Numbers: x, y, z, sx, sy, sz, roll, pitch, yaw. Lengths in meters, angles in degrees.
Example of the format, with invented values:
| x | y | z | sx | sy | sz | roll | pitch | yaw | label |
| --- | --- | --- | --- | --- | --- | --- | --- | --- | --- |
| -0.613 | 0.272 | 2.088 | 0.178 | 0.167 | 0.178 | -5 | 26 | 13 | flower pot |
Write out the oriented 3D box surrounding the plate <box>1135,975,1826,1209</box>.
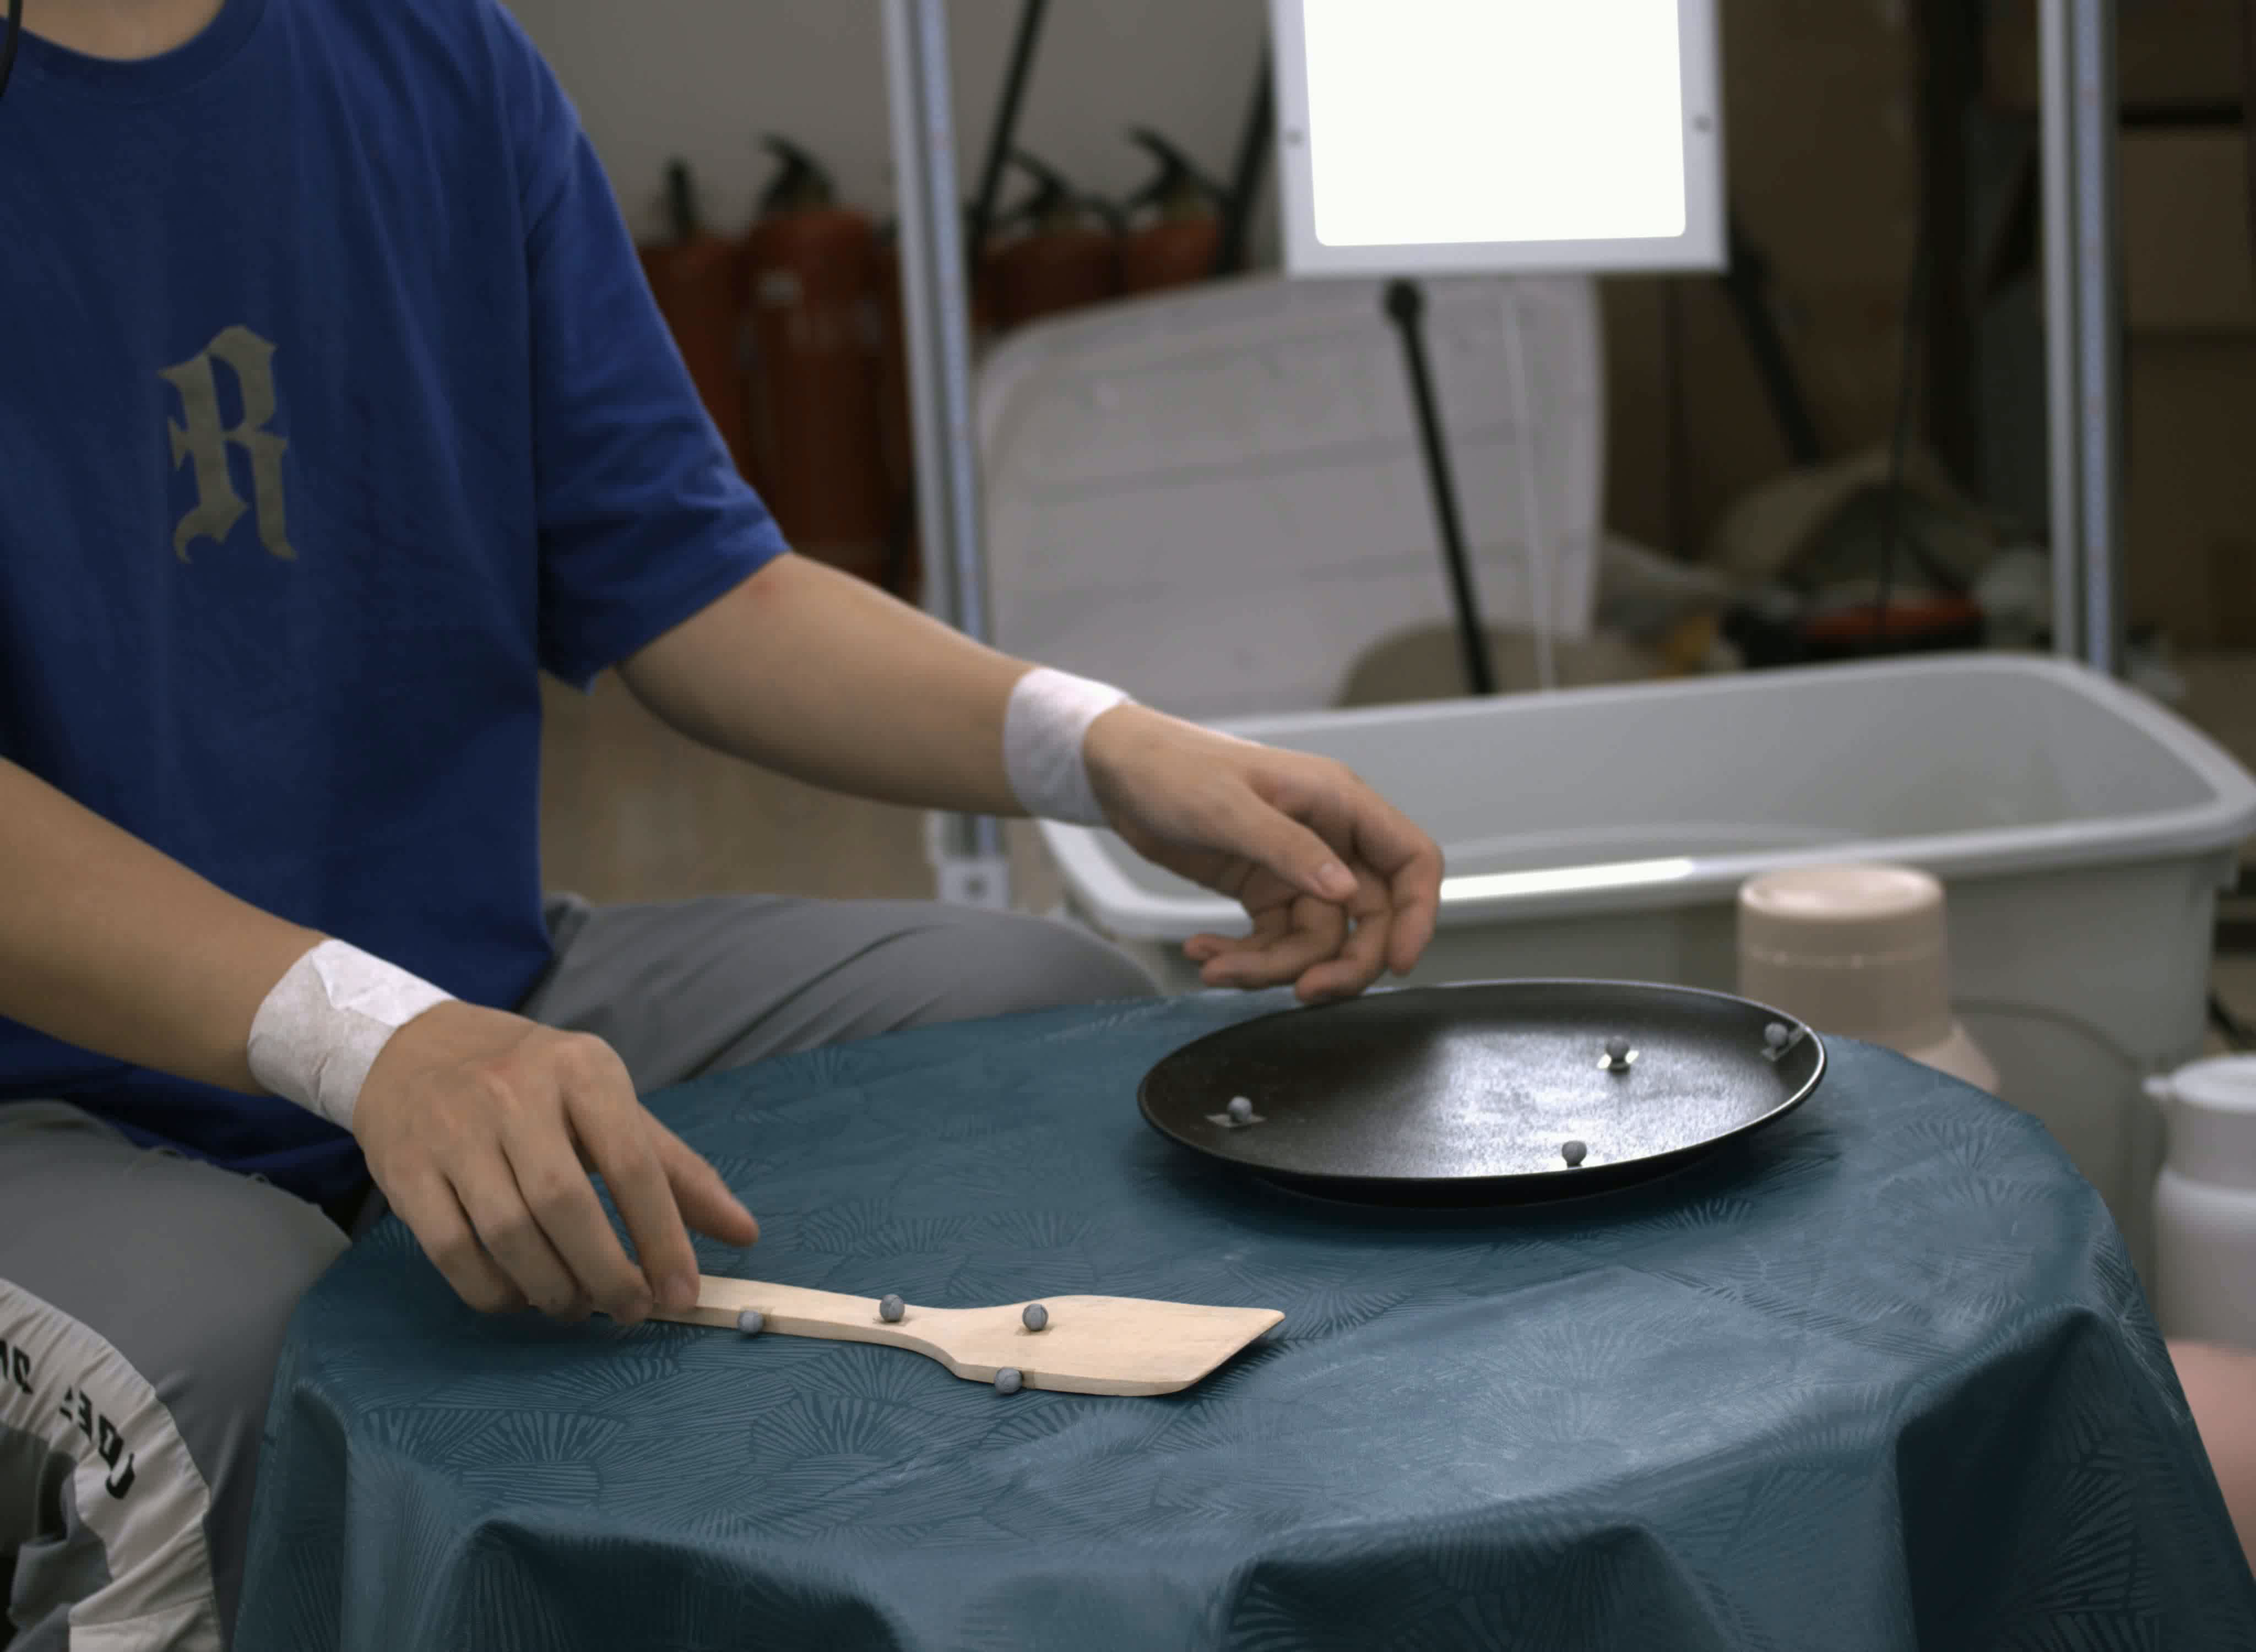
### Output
| x | y | z | sx | sy | sz | roll | pitch | yaw | label |
| --- | --- | --- | --- | --- | --- | --- | --- | --- | --- |
| 0.124 | 0.096 | 1.928 | 0.244 | 0.023 | 0.244 | -5 | 14 | 0 | plate |

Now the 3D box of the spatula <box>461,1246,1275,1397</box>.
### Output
| x | y | z | sx | sy | sz | roll | pitch | yaw | label |
| --- | --- | --- | --- | --- | --- | --- | --- | --- | --- |
| -0.094 | 0.157 | 1.785 | 0.298 | 0.011 | 0.070 | 4 | 18 | 31 | spatula |
